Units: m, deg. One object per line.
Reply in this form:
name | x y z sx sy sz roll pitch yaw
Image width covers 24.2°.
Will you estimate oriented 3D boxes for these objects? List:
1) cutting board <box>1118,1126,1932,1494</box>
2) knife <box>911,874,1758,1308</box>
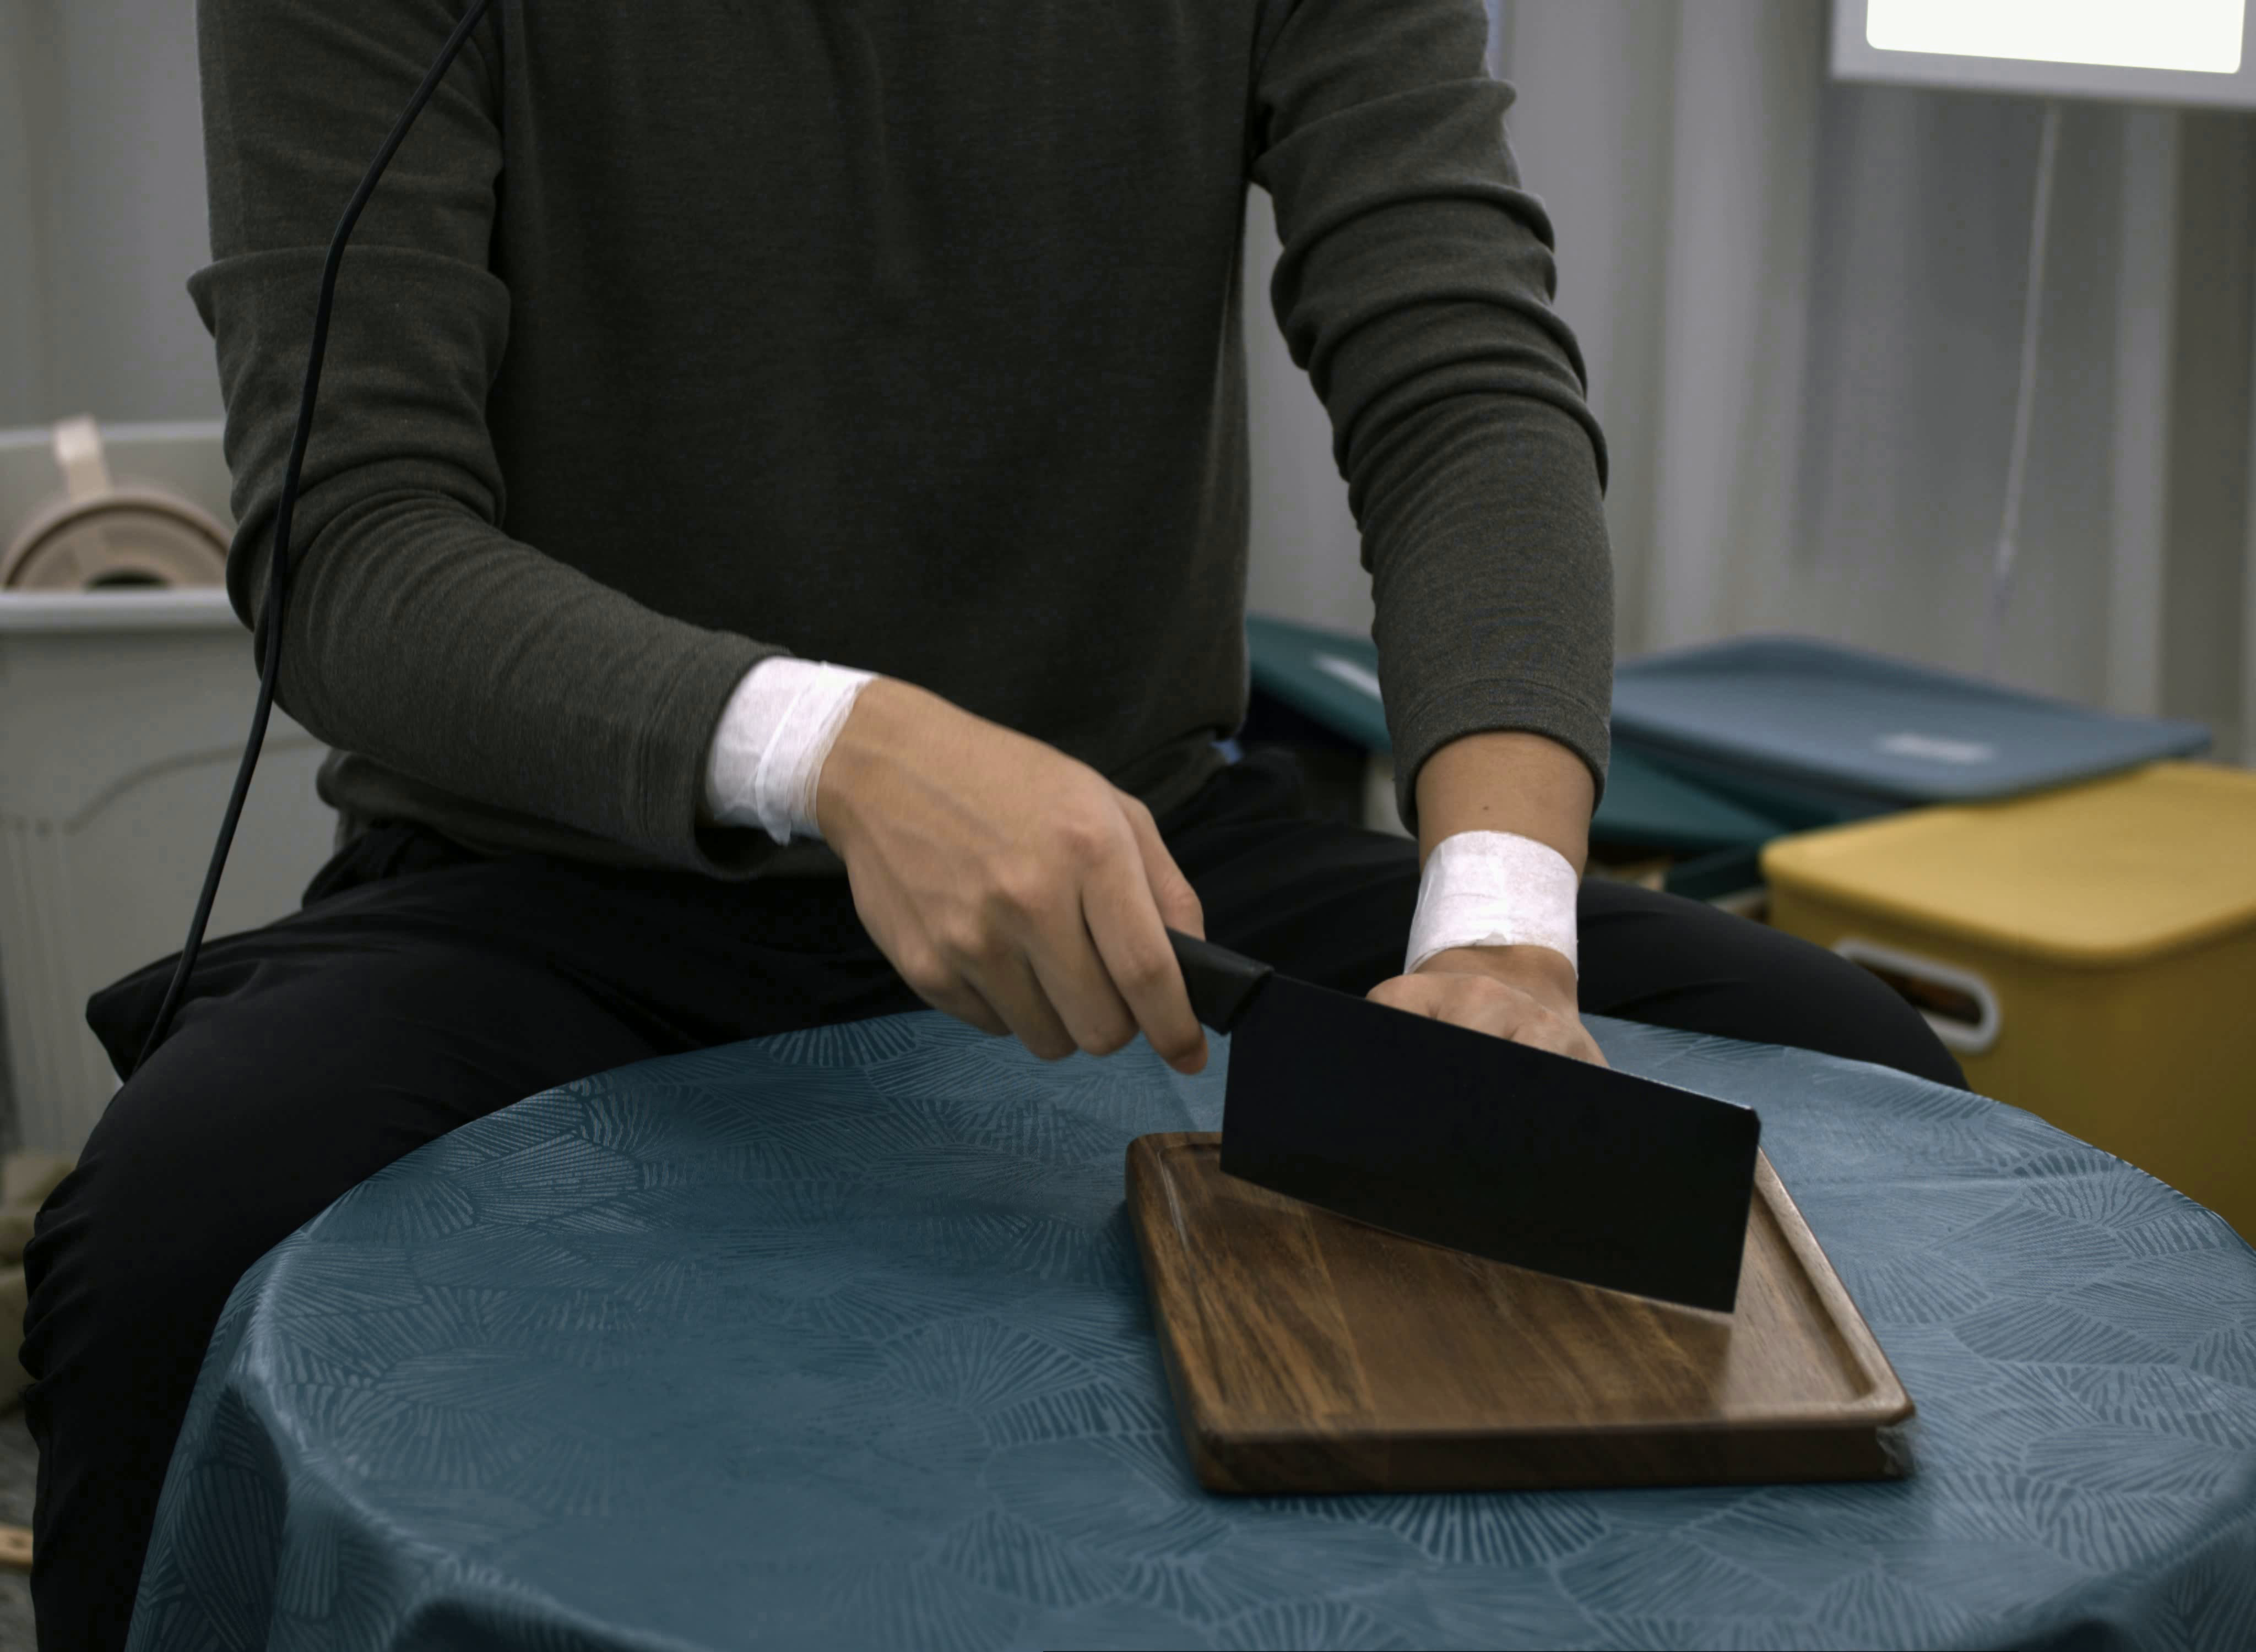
cutting board | 0.102 0.121 1.558 0.201 0.023 0.349 0 15 -5
knife | 0.055 0.072 1.551 0.298 0.081 0.021 21 18 33
